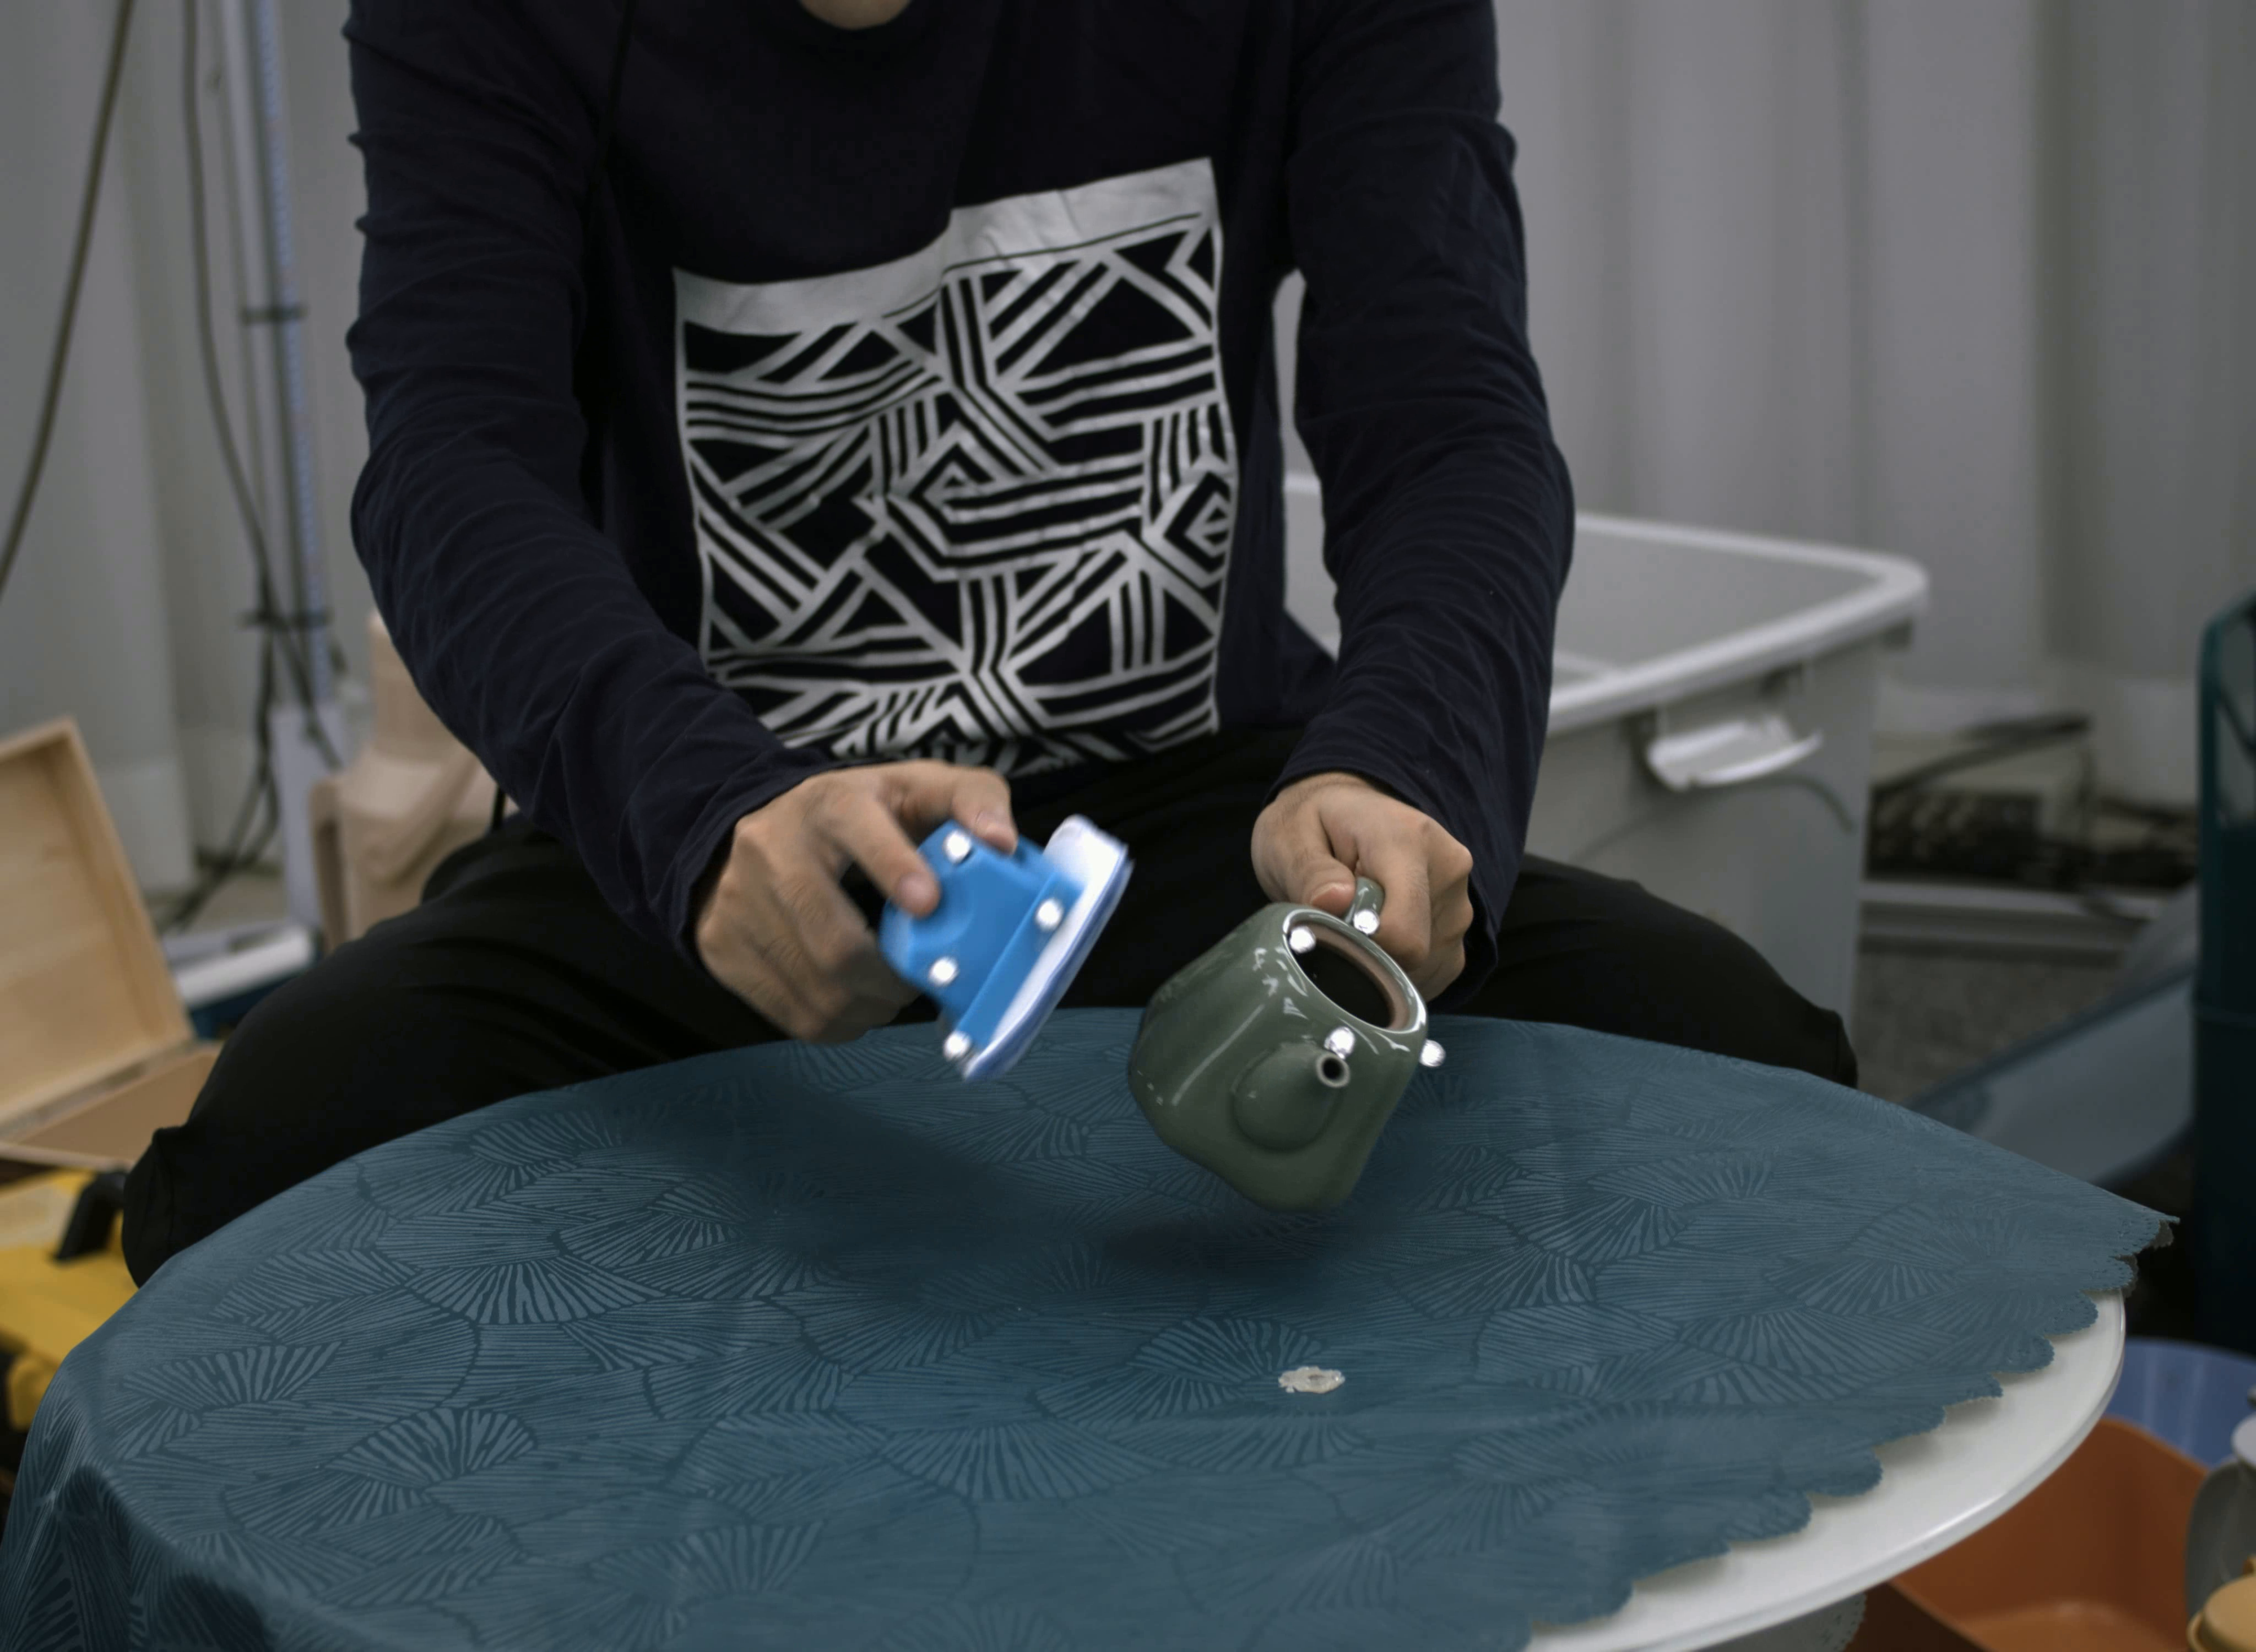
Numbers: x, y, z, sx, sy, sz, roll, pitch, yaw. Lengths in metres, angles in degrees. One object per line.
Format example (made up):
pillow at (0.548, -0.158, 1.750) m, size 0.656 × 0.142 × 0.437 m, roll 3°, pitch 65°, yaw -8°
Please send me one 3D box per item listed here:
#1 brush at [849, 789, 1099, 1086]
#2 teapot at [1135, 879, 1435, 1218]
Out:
brush at (-0.053, 0.029, 1.644) m, size 0.055 × 0.084 × 0.144 m, roll 37°, pitch 3°, yaw -11°
teapot at (0.051, 0.068, 1.647) m, size 0.079 × 0.075 × 0.134 m, roll 33°, pitch 24°, yaw -8°
